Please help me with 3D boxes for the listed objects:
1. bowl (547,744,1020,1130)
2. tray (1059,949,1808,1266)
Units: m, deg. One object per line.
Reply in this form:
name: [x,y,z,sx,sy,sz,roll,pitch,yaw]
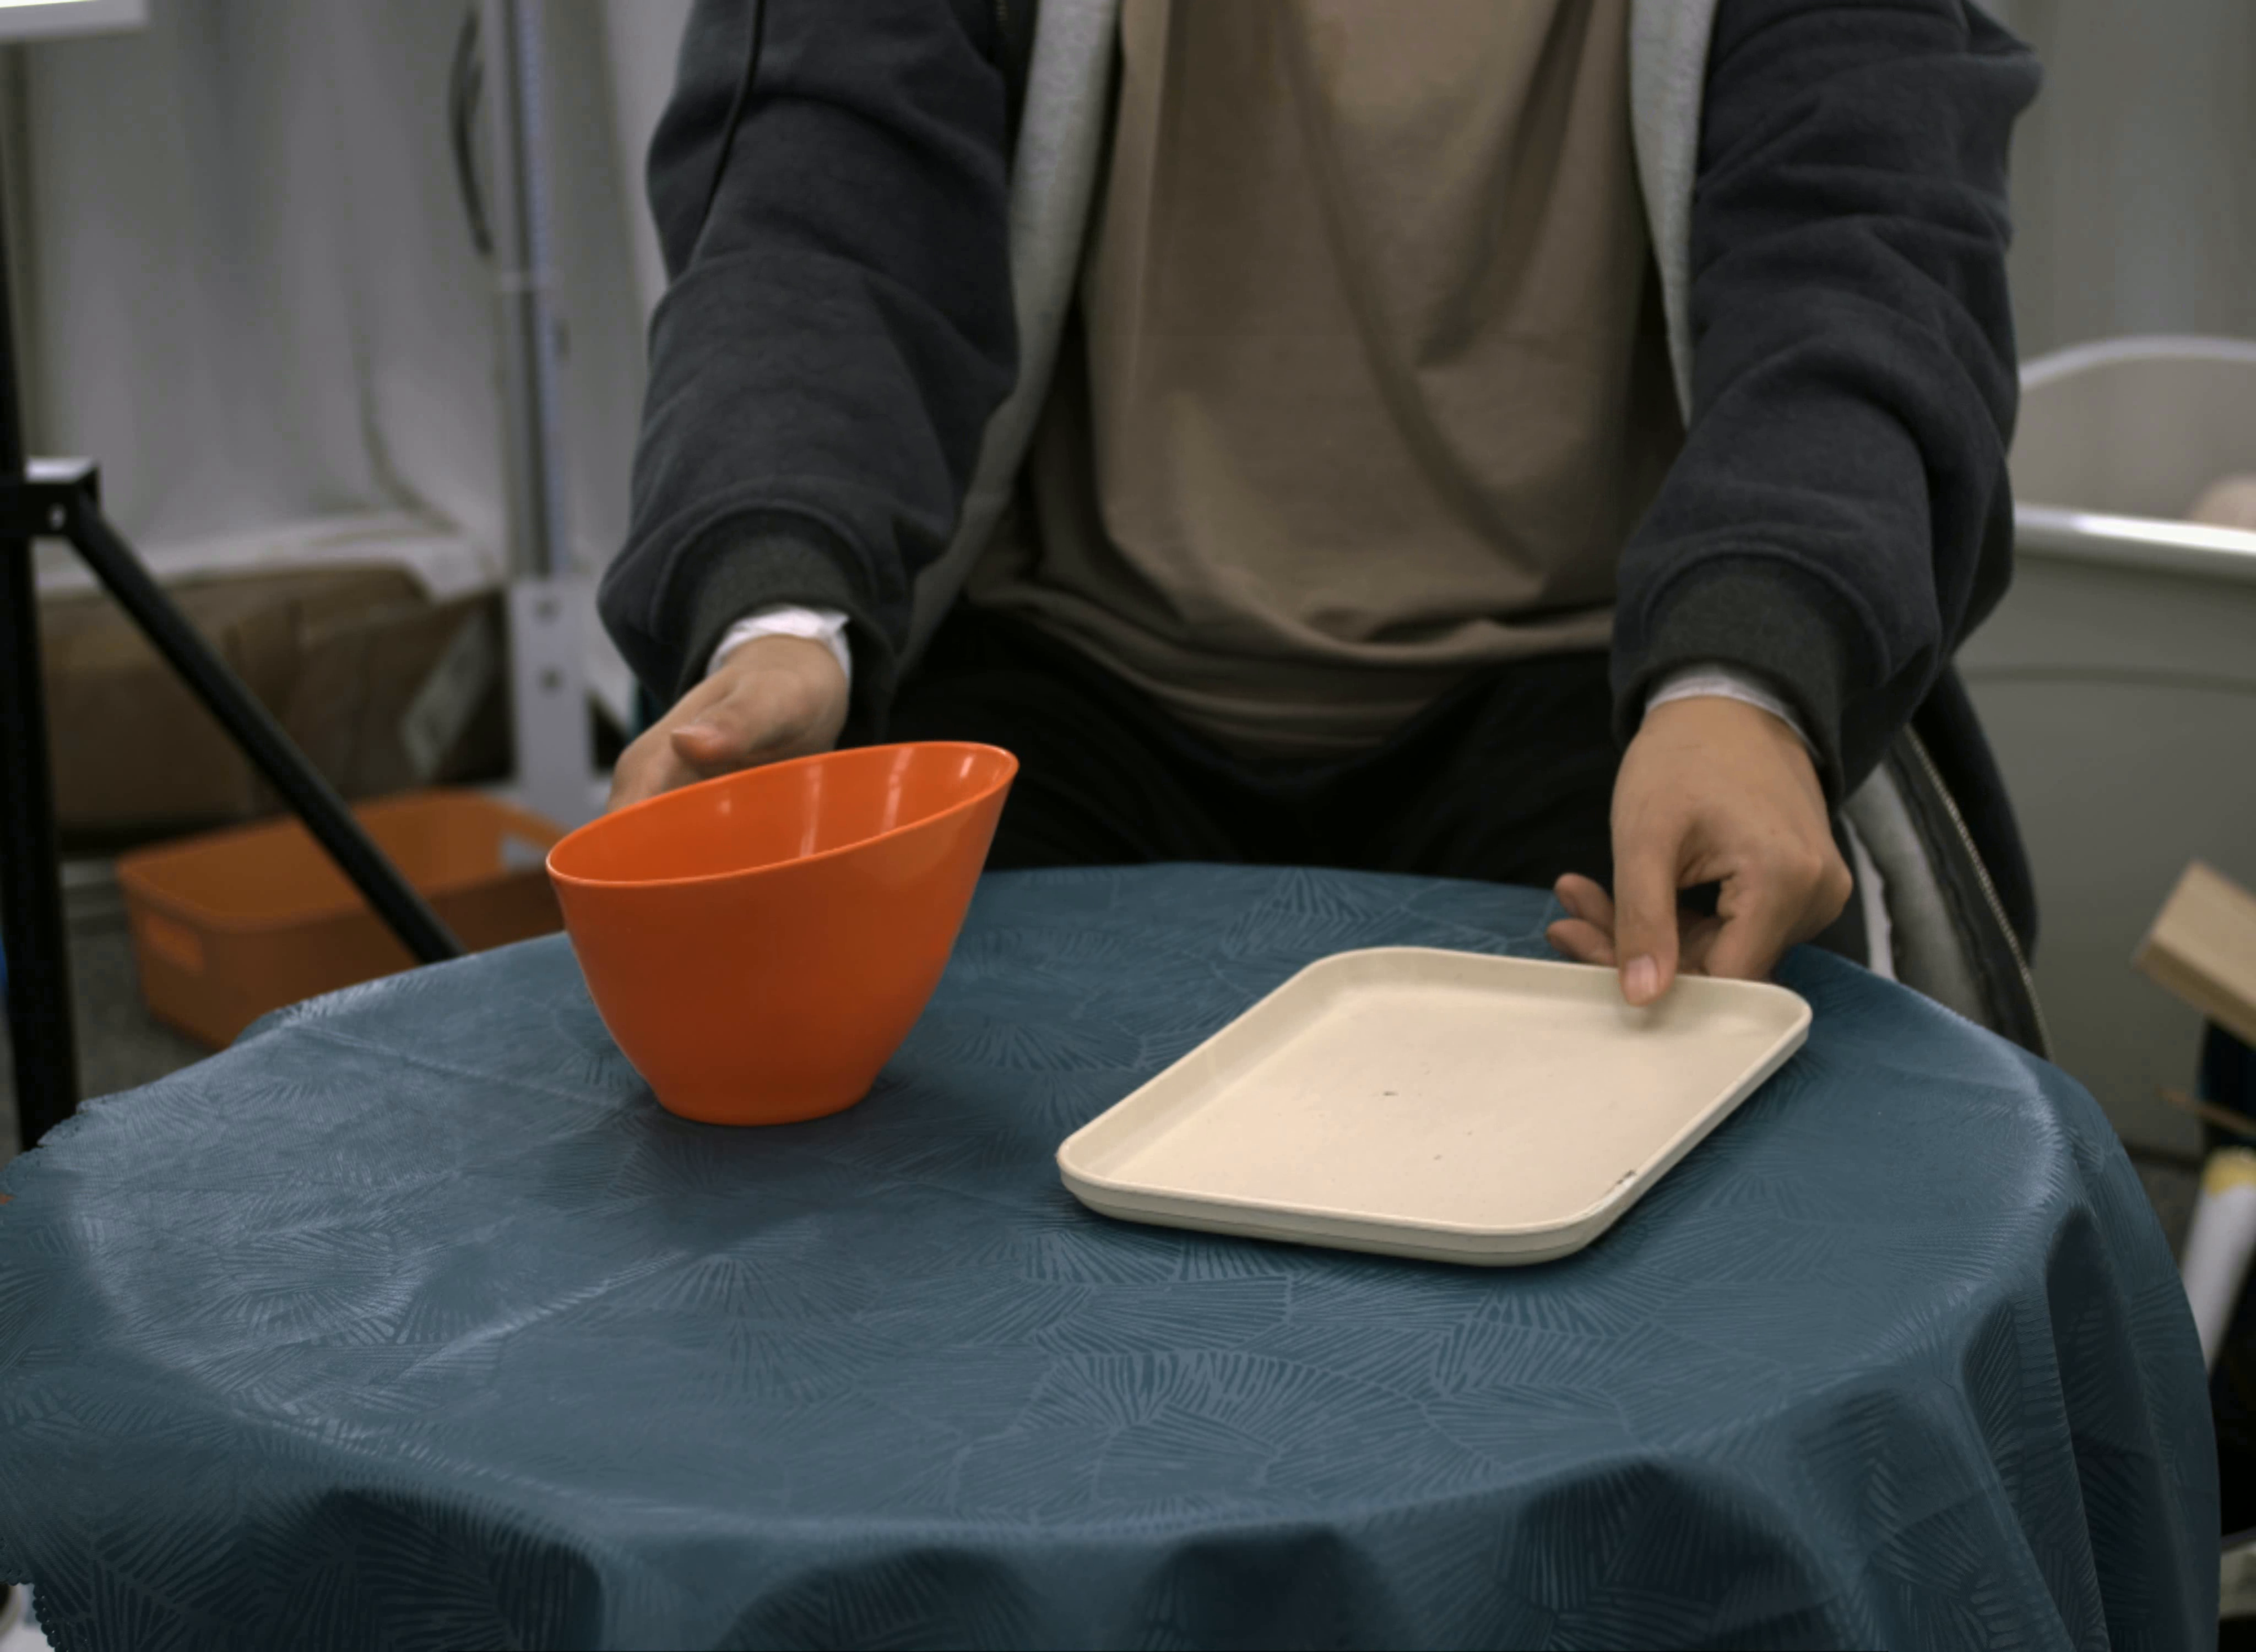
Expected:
bowl: [-0.105,0.036,1.649,0.147,0.104,0.149,-2,17,-1]
tray: [0.096,0.084,1.598,0.174,0.017,0.236,5,17,26]
